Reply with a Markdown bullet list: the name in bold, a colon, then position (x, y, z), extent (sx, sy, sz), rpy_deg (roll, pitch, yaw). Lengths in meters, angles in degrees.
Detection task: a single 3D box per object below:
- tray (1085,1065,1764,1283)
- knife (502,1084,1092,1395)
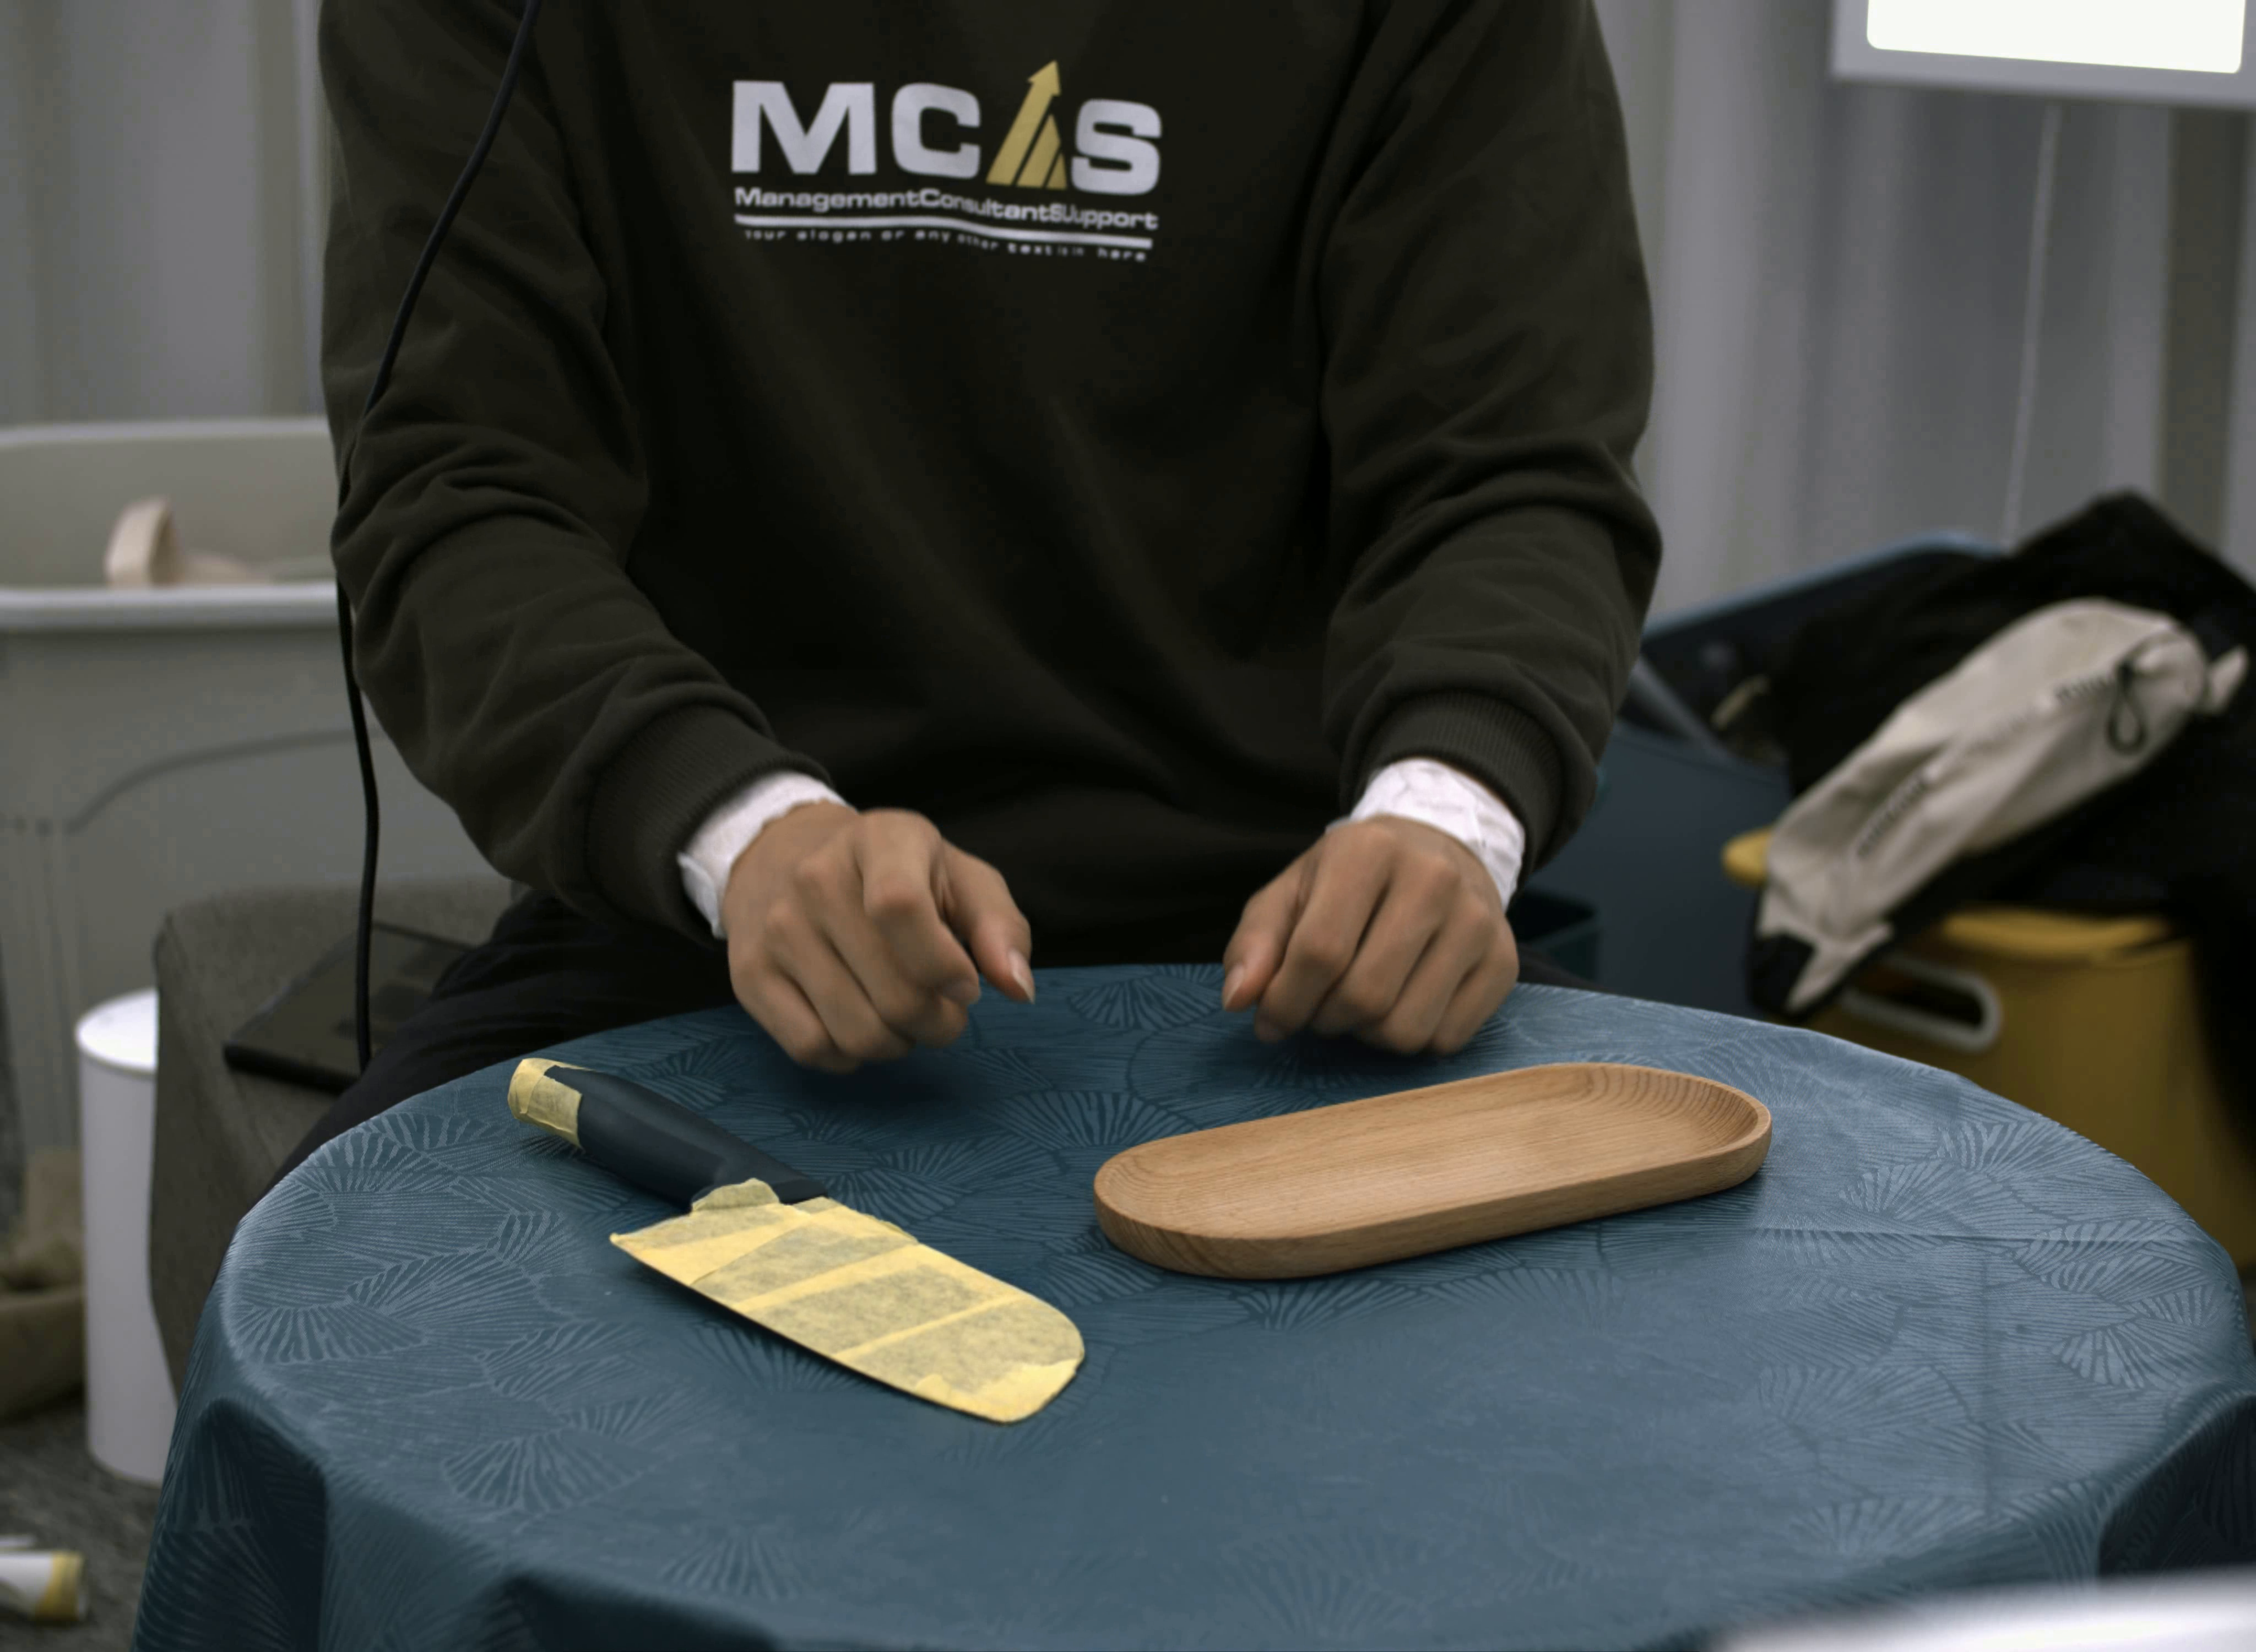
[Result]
- **tray**: position (0.093, 0.106, 1.620), extent (0.232, 0.020, 0.100), rpy_deg (-10, 17, -30)
- **knife**: position (-0.110, 0.123, 1.554), extent (0.081, 0.027, 0.285), rpy_deg (-10, 20, -38)
